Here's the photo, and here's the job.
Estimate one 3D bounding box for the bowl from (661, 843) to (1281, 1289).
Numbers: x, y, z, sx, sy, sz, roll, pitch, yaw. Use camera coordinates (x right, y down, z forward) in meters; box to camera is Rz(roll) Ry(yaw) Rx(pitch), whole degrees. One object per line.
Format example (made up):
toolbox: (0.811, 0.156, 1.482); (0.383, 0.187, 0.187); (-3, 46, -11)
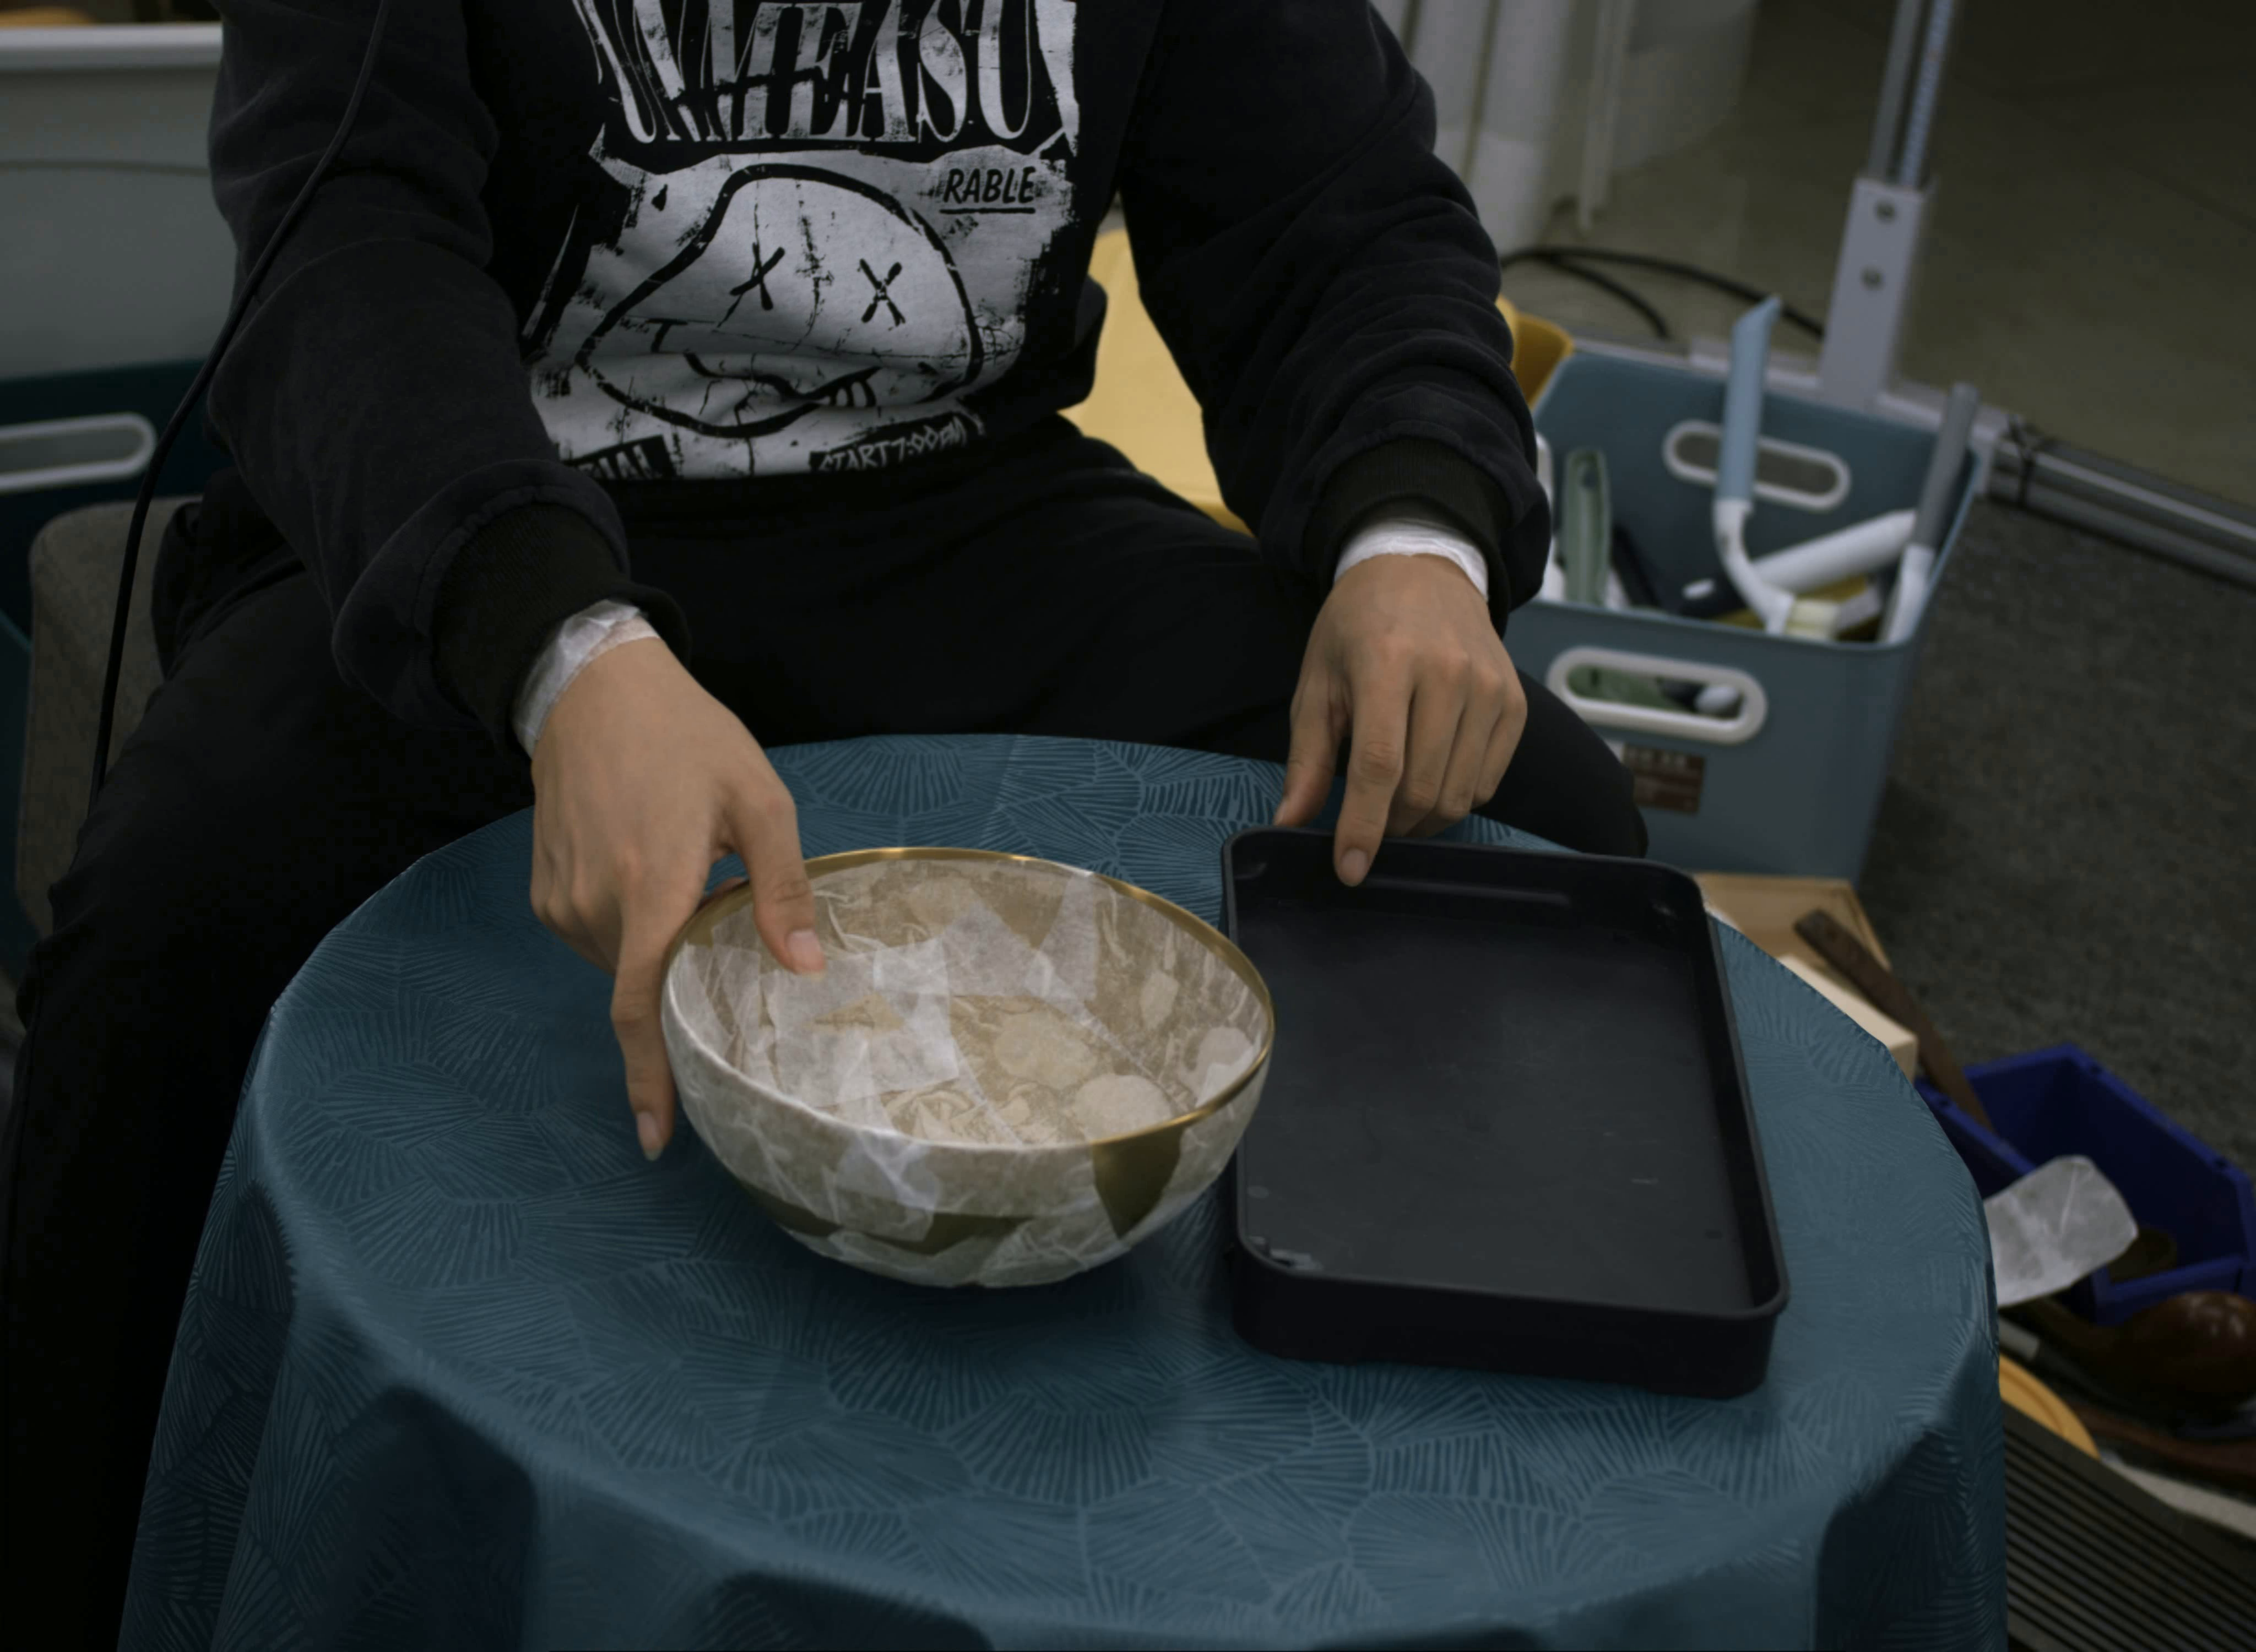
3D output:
bowl: (-0.051, 0.090, 1.750); (0.214, 0.094, 0.216); (4, 27, -2)

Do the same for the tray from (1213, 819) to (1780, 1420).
tray: (0.123, 0.095, 1.850); (0.184, 0.037, 0.320); (7, 28, -1)
